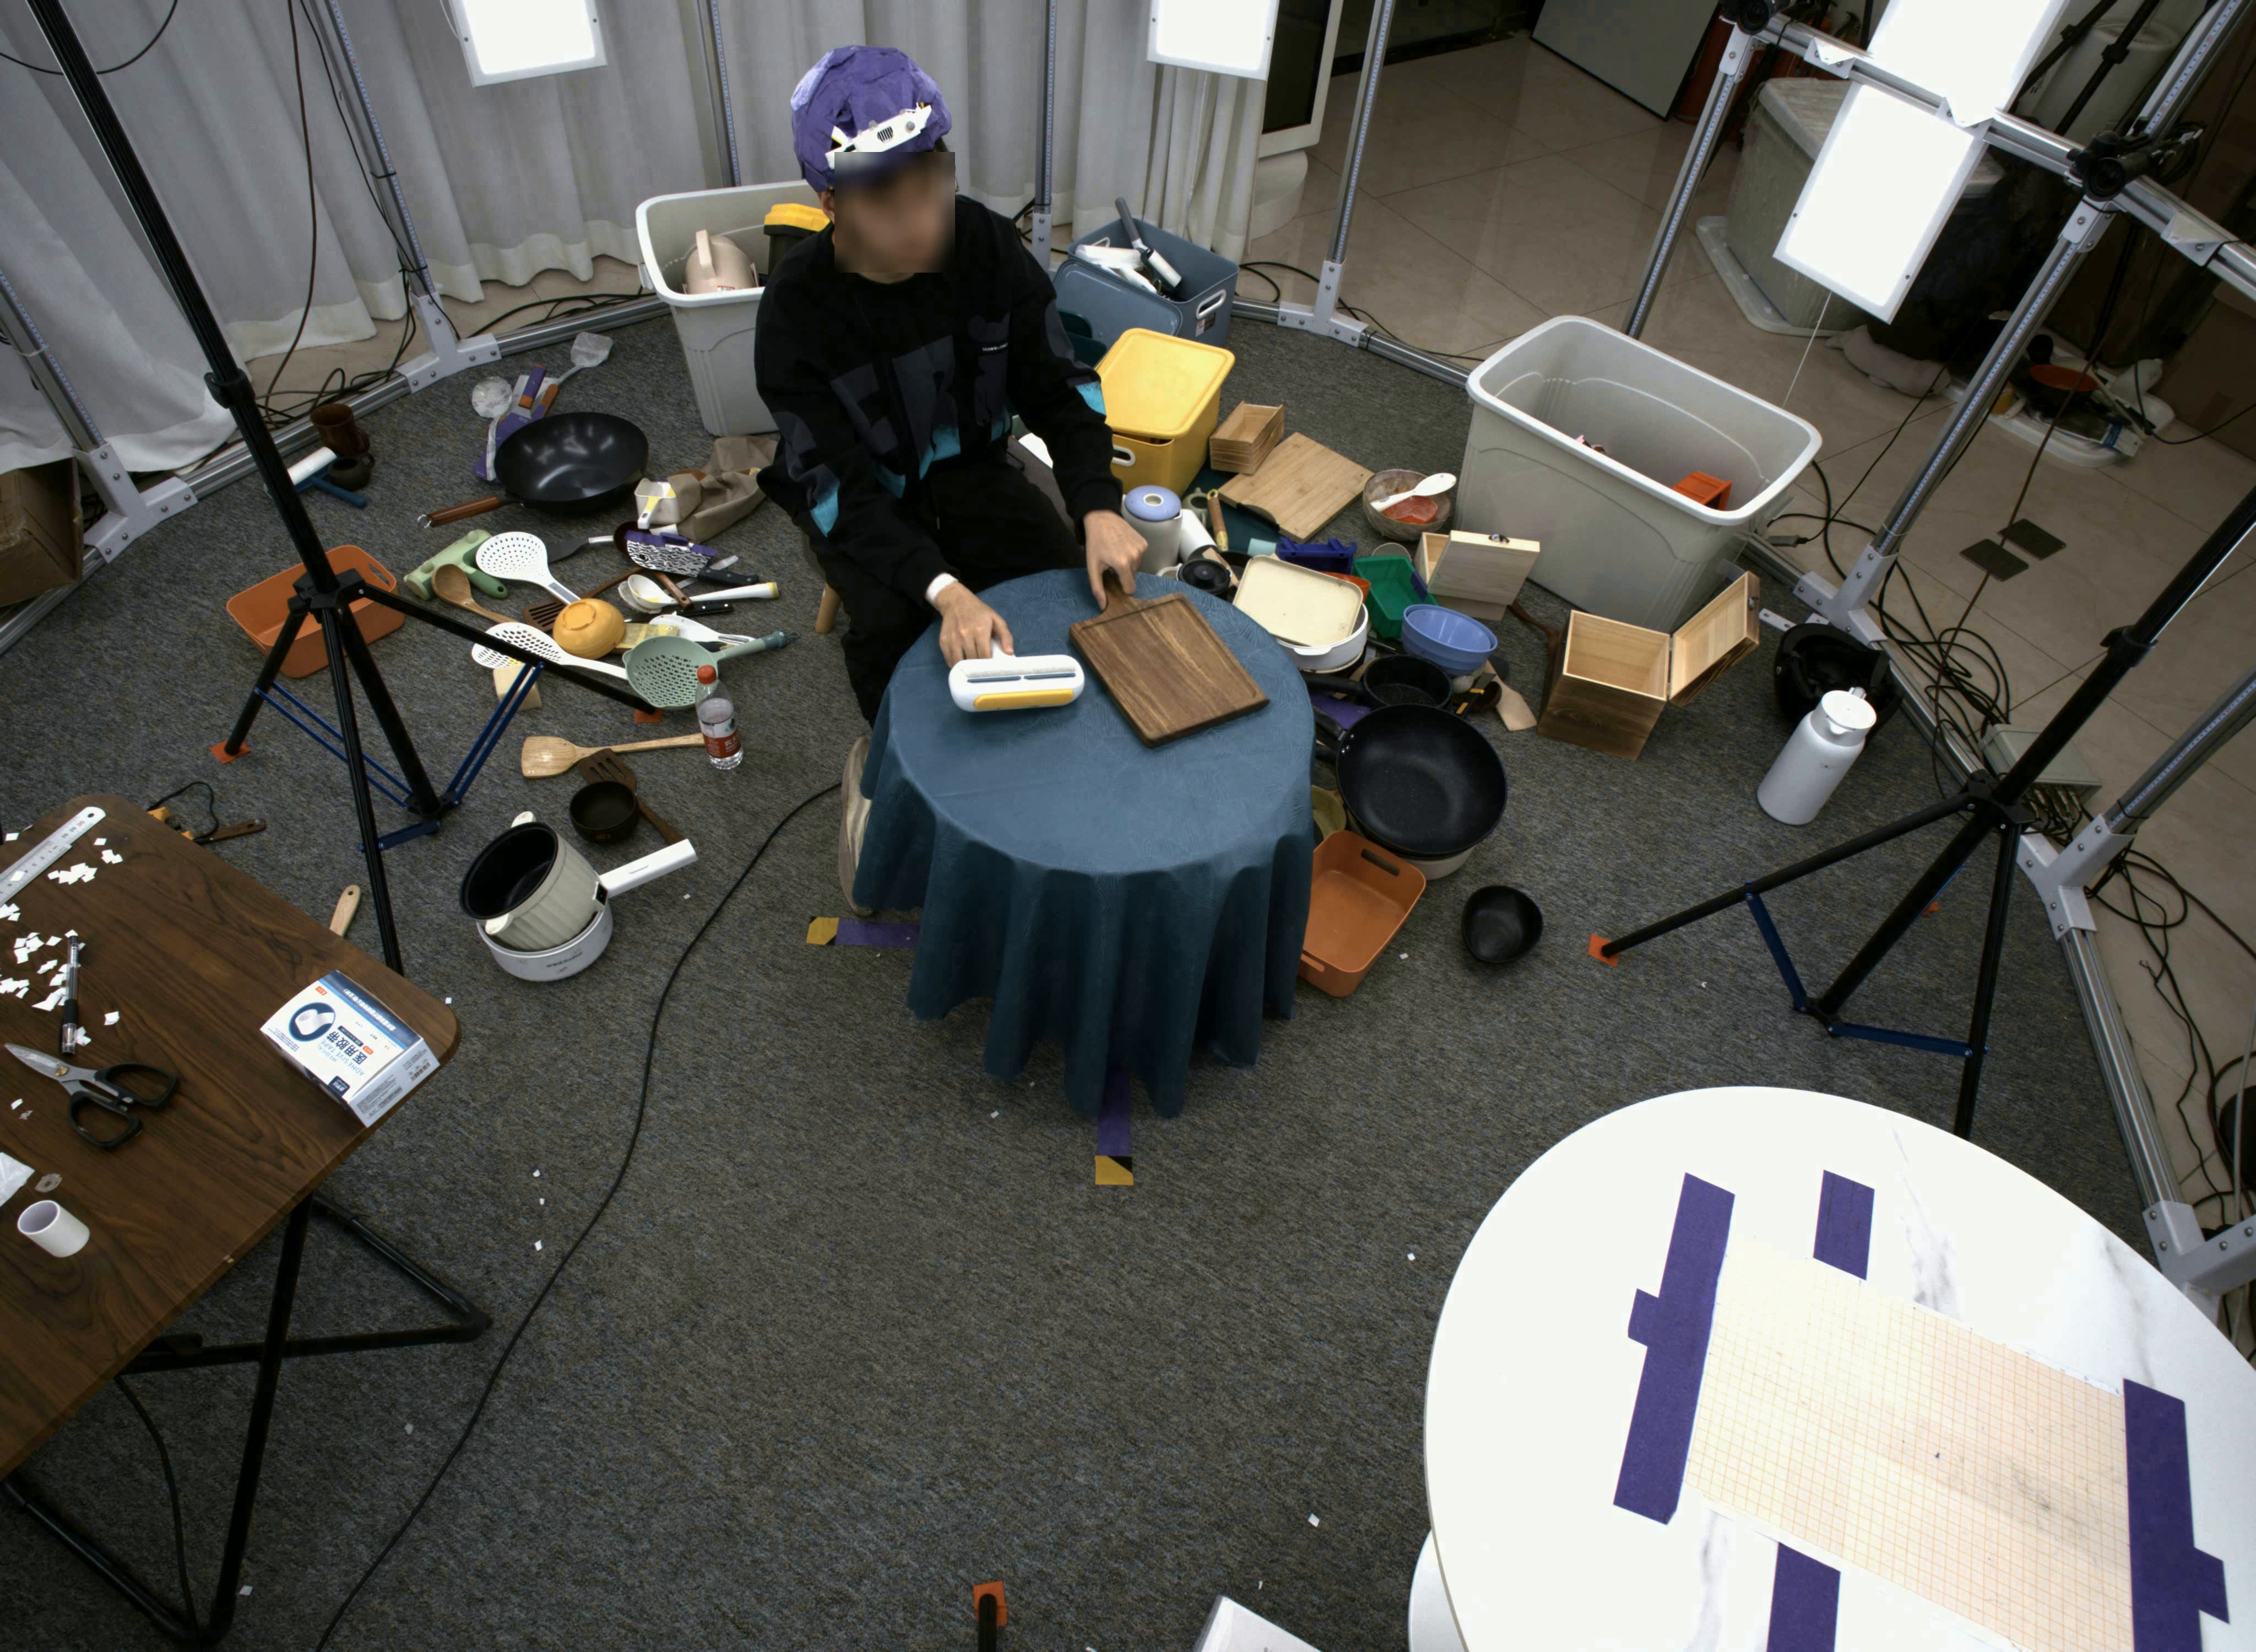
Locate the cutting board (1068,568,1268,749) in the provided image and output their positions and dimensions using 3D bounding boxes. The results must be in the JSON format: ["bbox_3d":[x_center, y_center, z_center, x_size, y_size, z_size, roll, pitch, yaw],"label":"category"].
[{"bbox_3d":[0.032,-0.266,1.884,0.201,0.022,0.360,-21,54,-19],"label":"cutting board"}]

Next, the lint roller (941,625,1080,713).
[{"bbox_3d":[-0.179,-0.234,1.816,0.192,0.072,0.197,-7,48,-19],"label":"lint roller"}]
